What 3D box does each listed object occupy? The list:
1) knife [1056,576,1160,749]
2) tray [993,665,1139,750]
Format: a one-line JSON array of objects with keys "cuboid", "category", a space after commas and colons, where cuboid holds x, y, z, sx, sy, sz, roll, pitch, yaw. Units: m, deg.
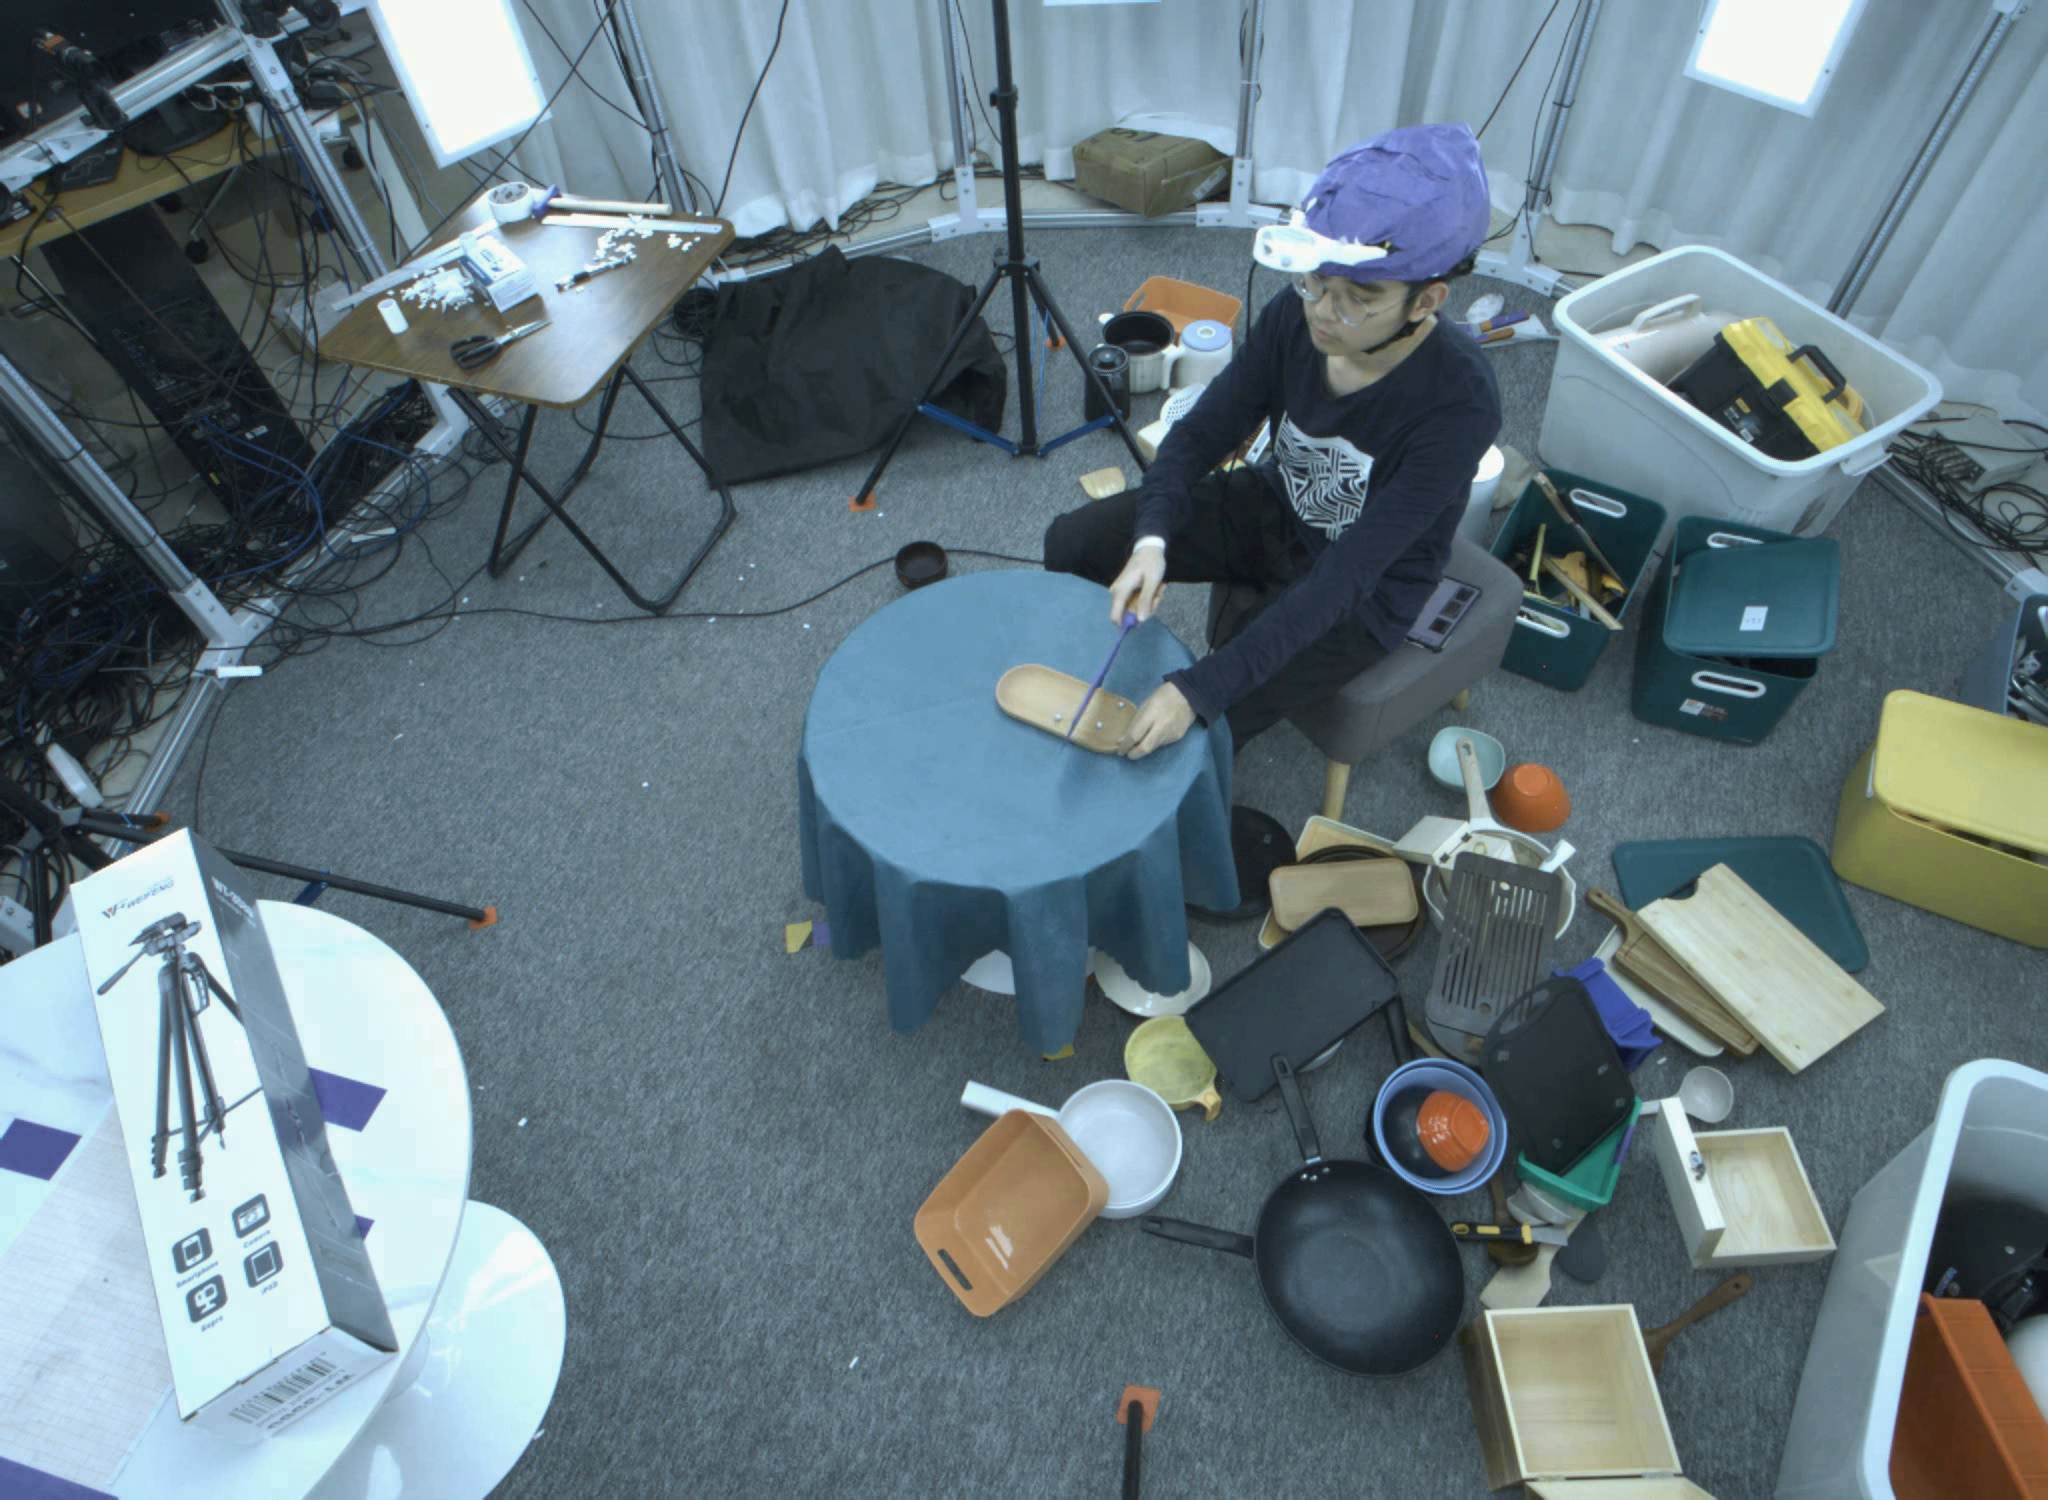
[{"cuboid": [0.118, -0.131, 1.795, 0.032, 0.104, 0.316, 30, 54, 4], "category": "knife"}, {"cuboid": [0.061, -0.063, 1.830, 0.228, 0.020, 0.102, 20, 56, 19], "category": "tray"}]
